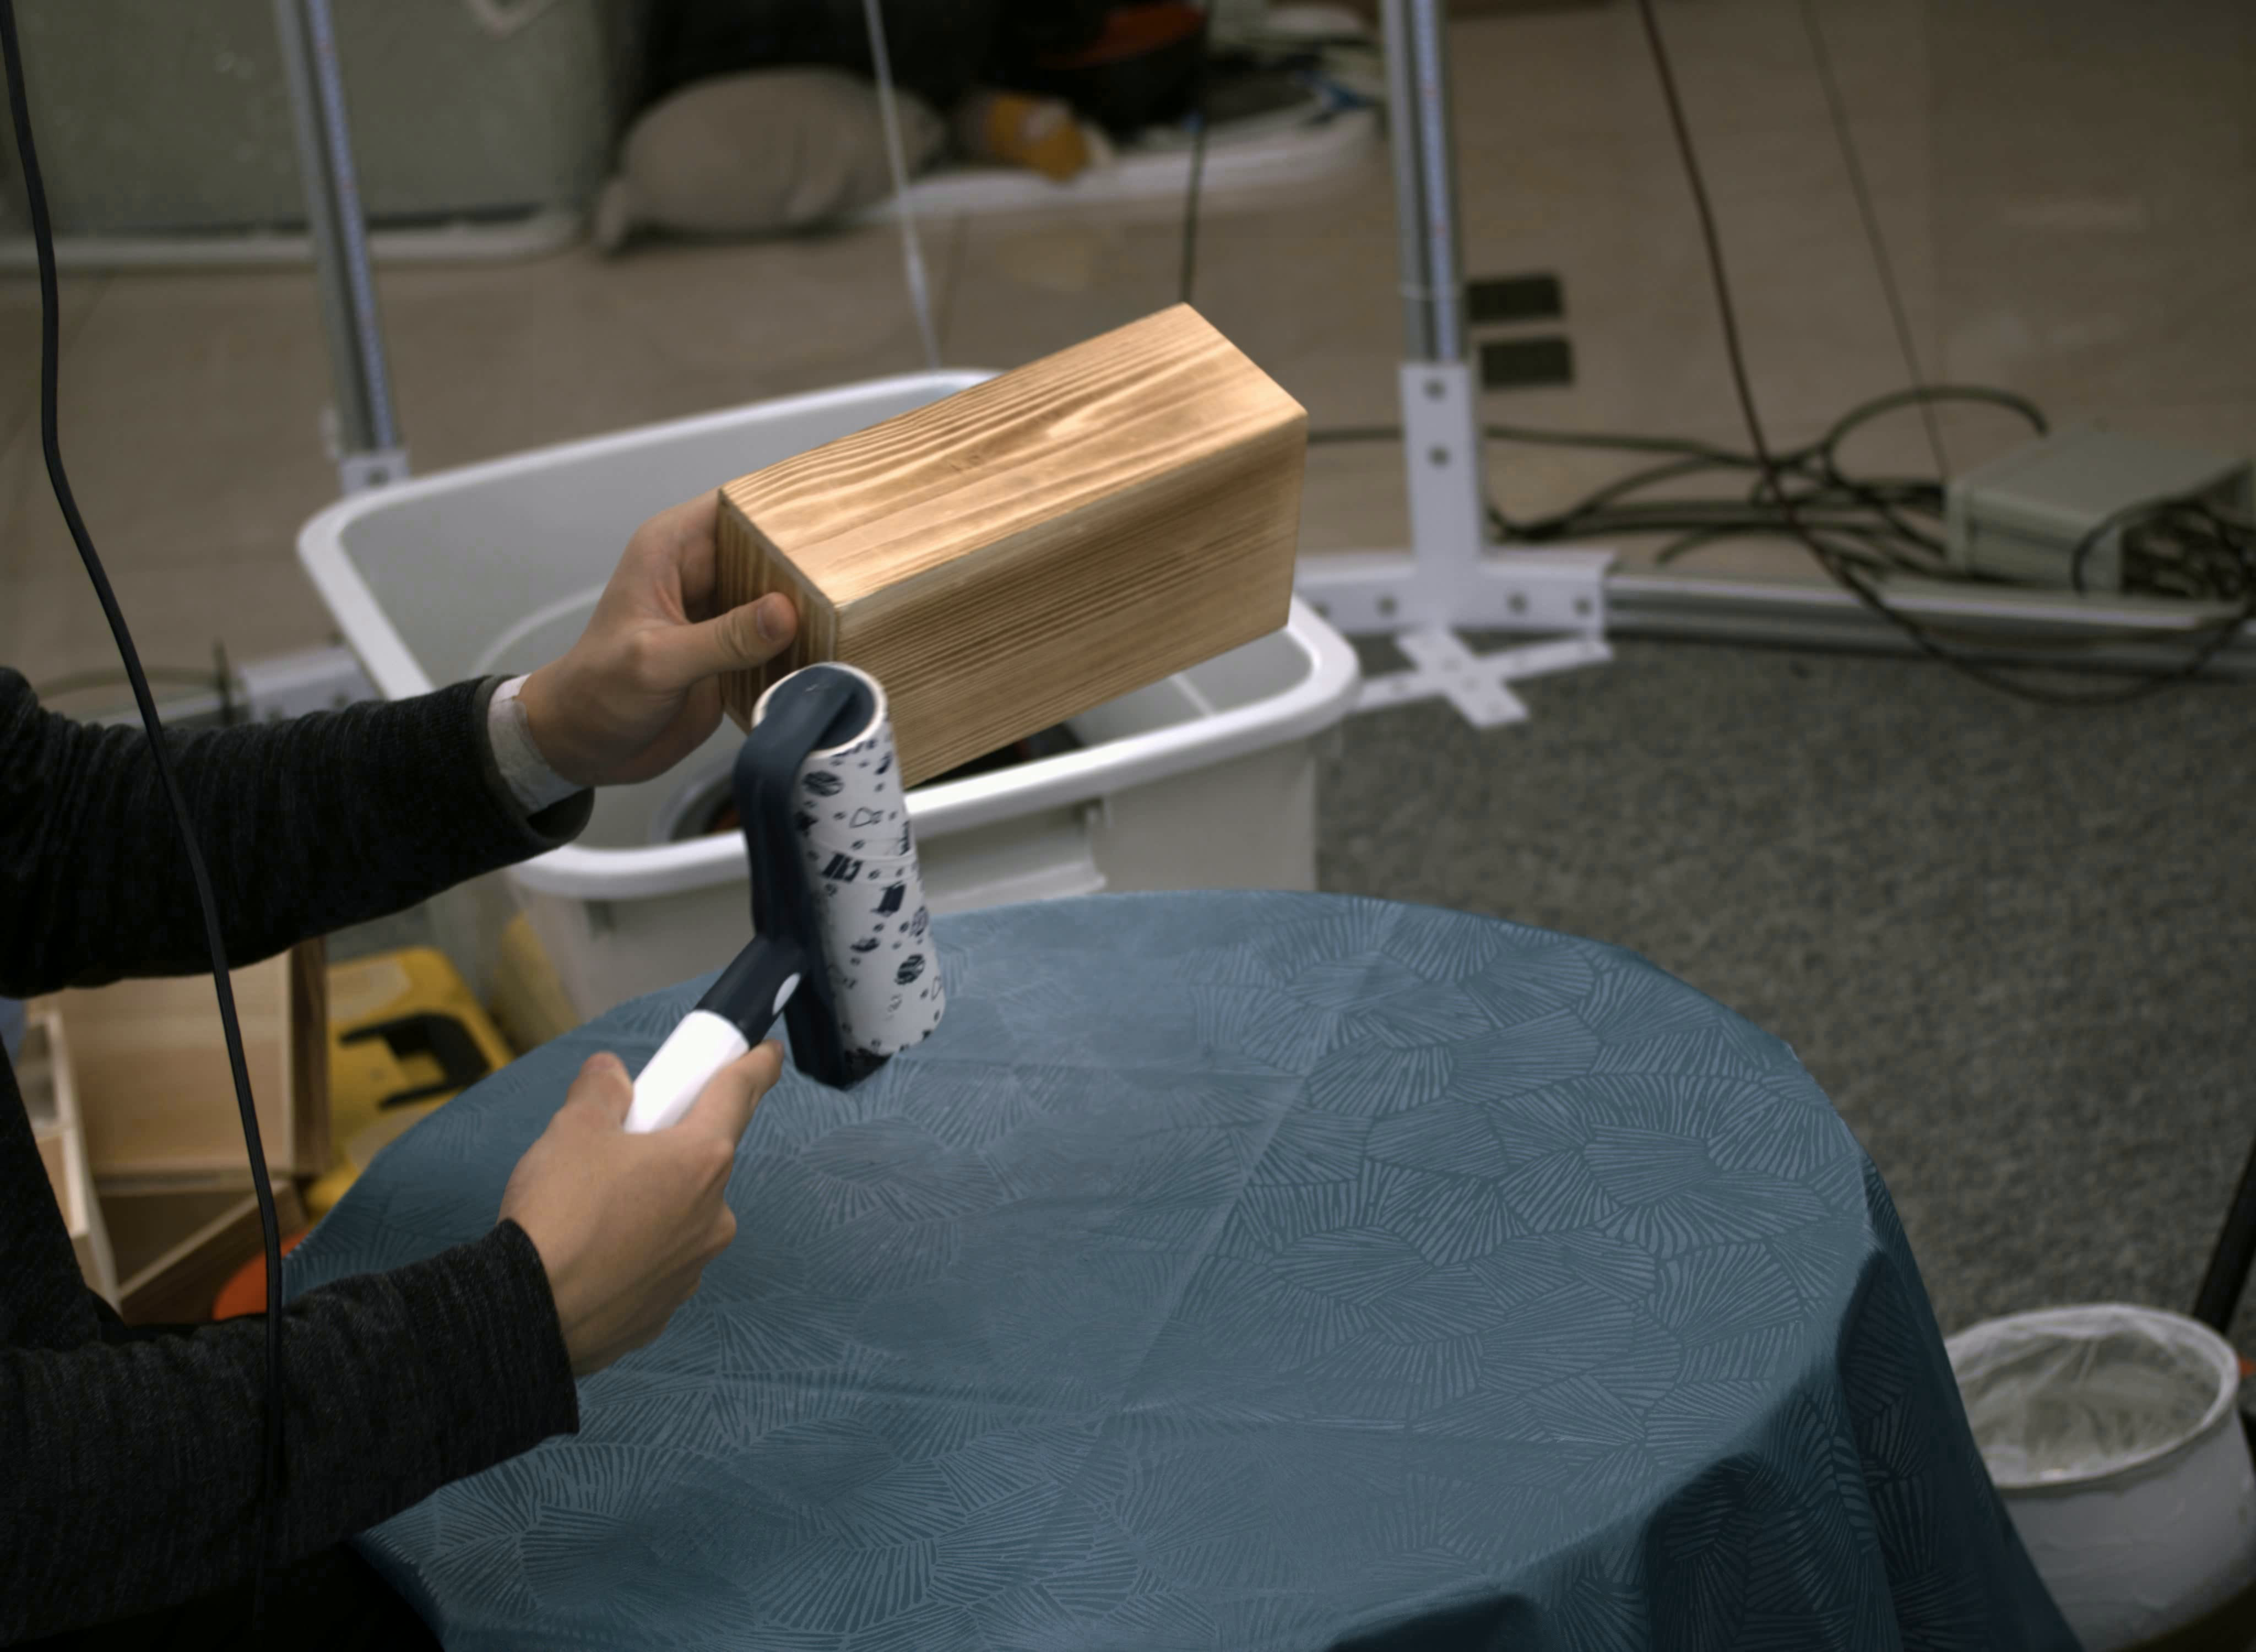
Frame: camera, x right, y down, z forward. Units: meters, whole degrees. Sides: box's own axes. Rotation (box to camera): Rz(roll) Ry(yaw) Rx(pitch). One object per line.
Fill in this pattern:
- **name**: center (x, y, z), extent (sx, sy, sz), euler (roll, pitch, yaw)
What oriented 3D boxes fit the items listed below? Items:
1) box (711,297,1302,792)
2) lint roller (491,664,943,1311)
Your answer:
- **box**: center (-0.045, -0.101, 2.102), extent (0.210, 0.109, 0.079), euler (-25, 50, -26)
- **lint roller**: center (-0.144, 0.081, 2.001), extent (0.050, 0.180, 0.243), euler (19, 54, 21)
